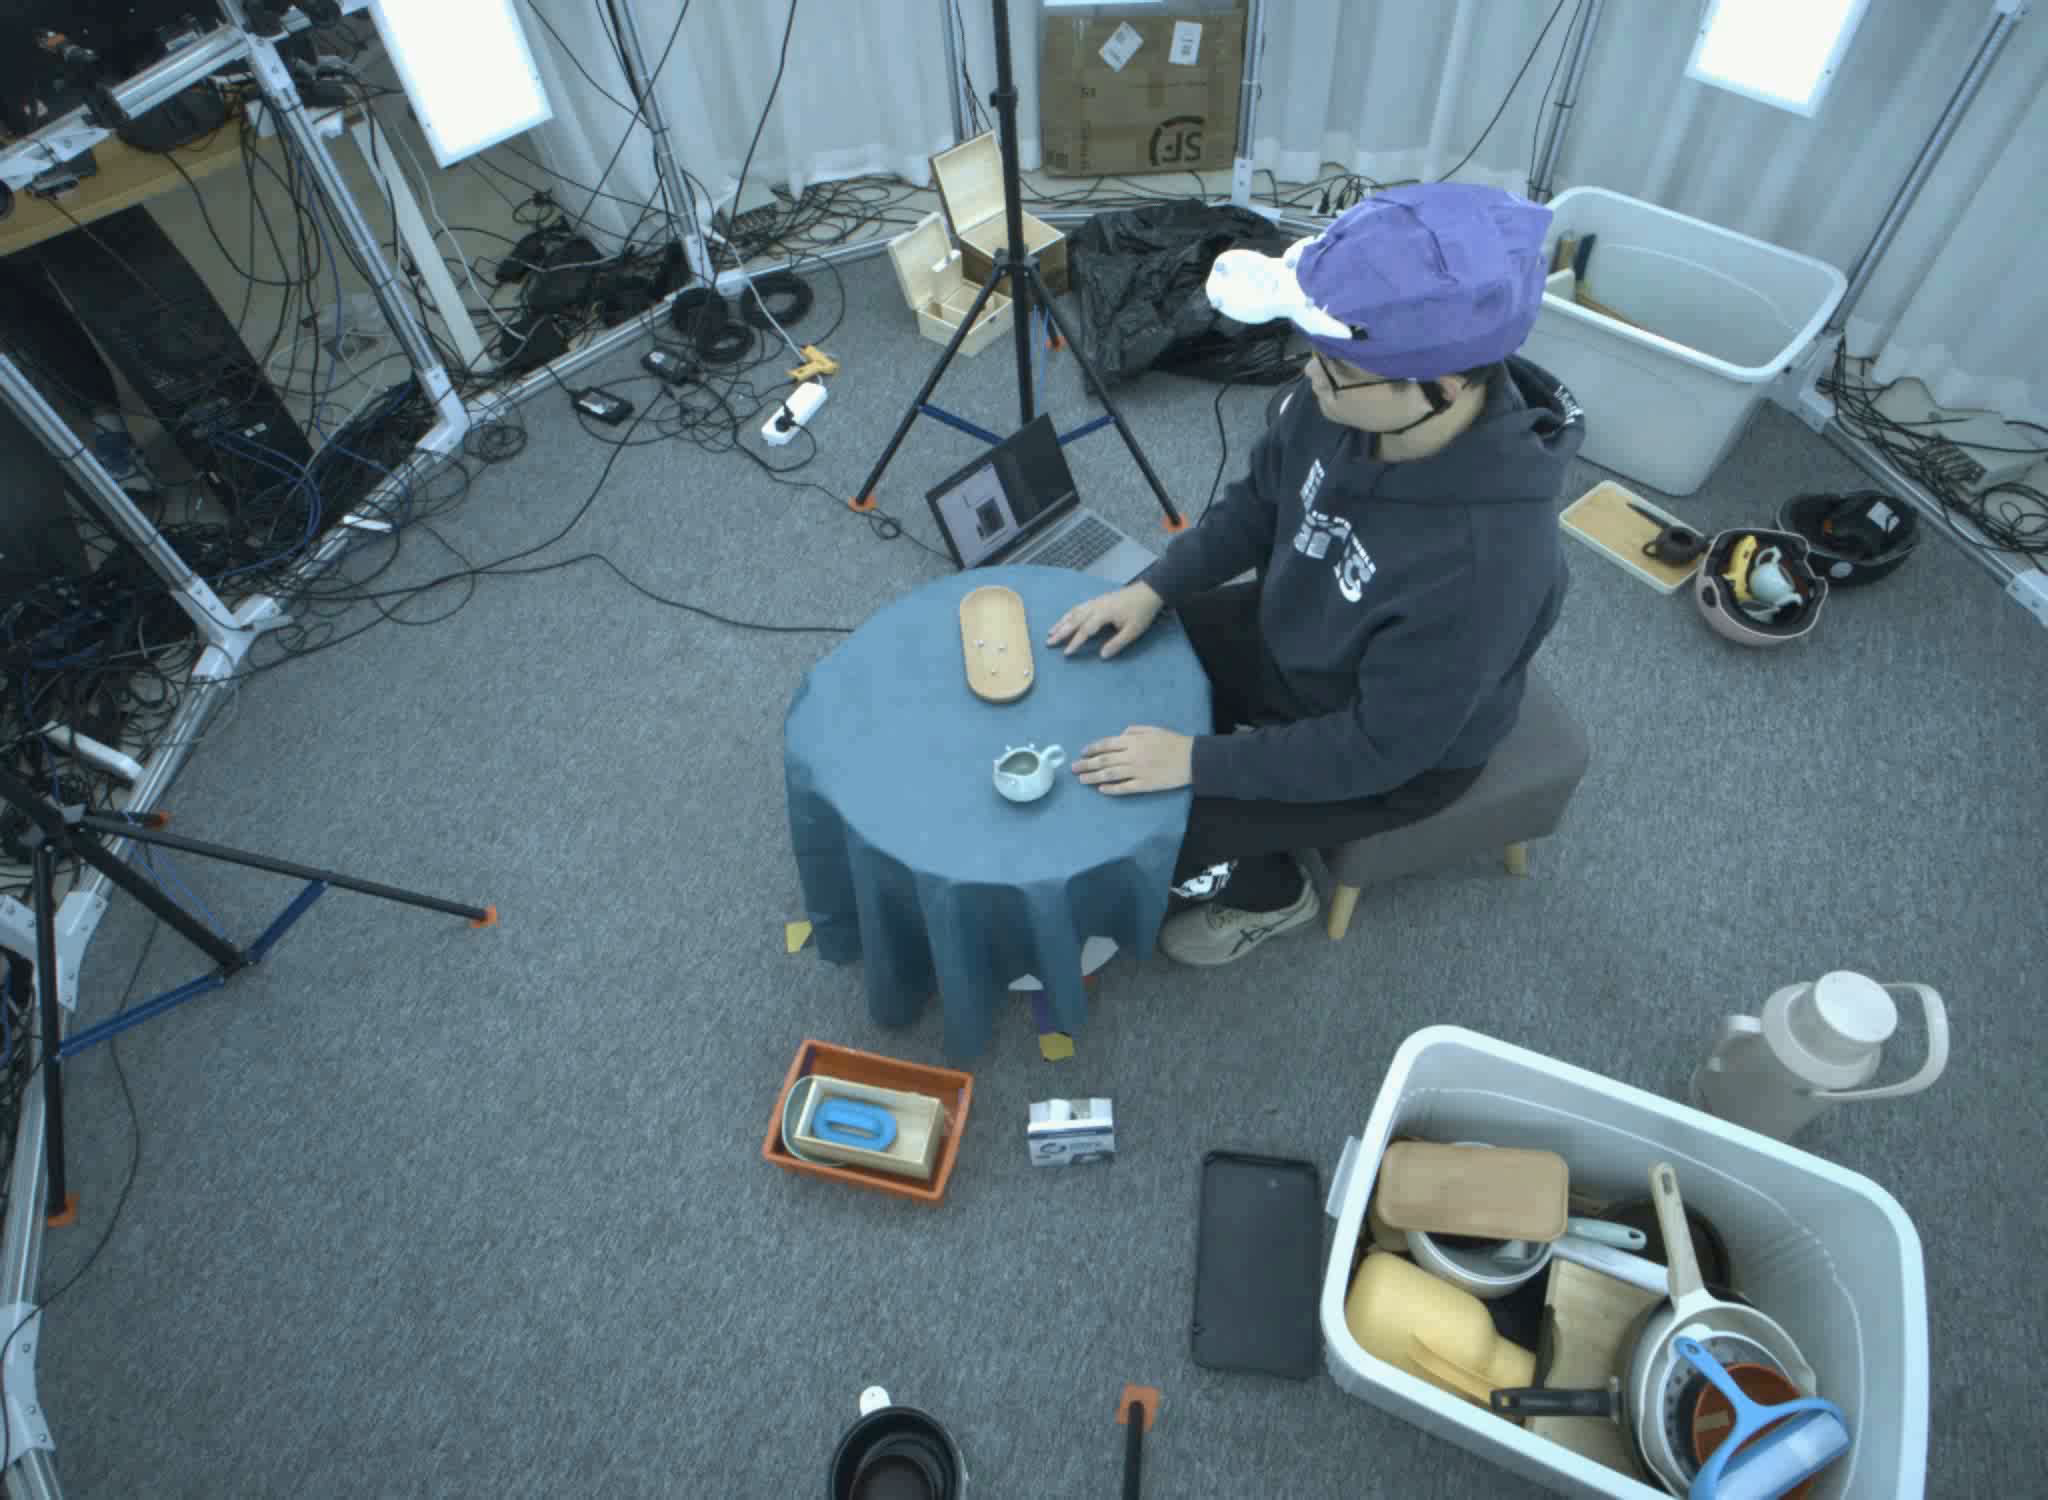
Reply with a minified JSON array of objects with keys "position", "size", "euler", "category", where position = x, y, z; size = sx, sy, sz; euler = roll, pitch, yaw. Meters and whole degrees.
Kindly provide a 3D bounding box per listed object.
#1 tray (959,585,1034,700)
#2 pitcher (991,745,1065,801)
[{"position":[-0.044,-0.168,1.898],"size":[0.102,0.020,0.228],"euler":[-6,53,-4],"category":"tray"},{"position":[0.007,0.027,1.735],"size":[0.109,0.061,0.084],"euler":[-20,58,-14],"category":"pitcher"}]
